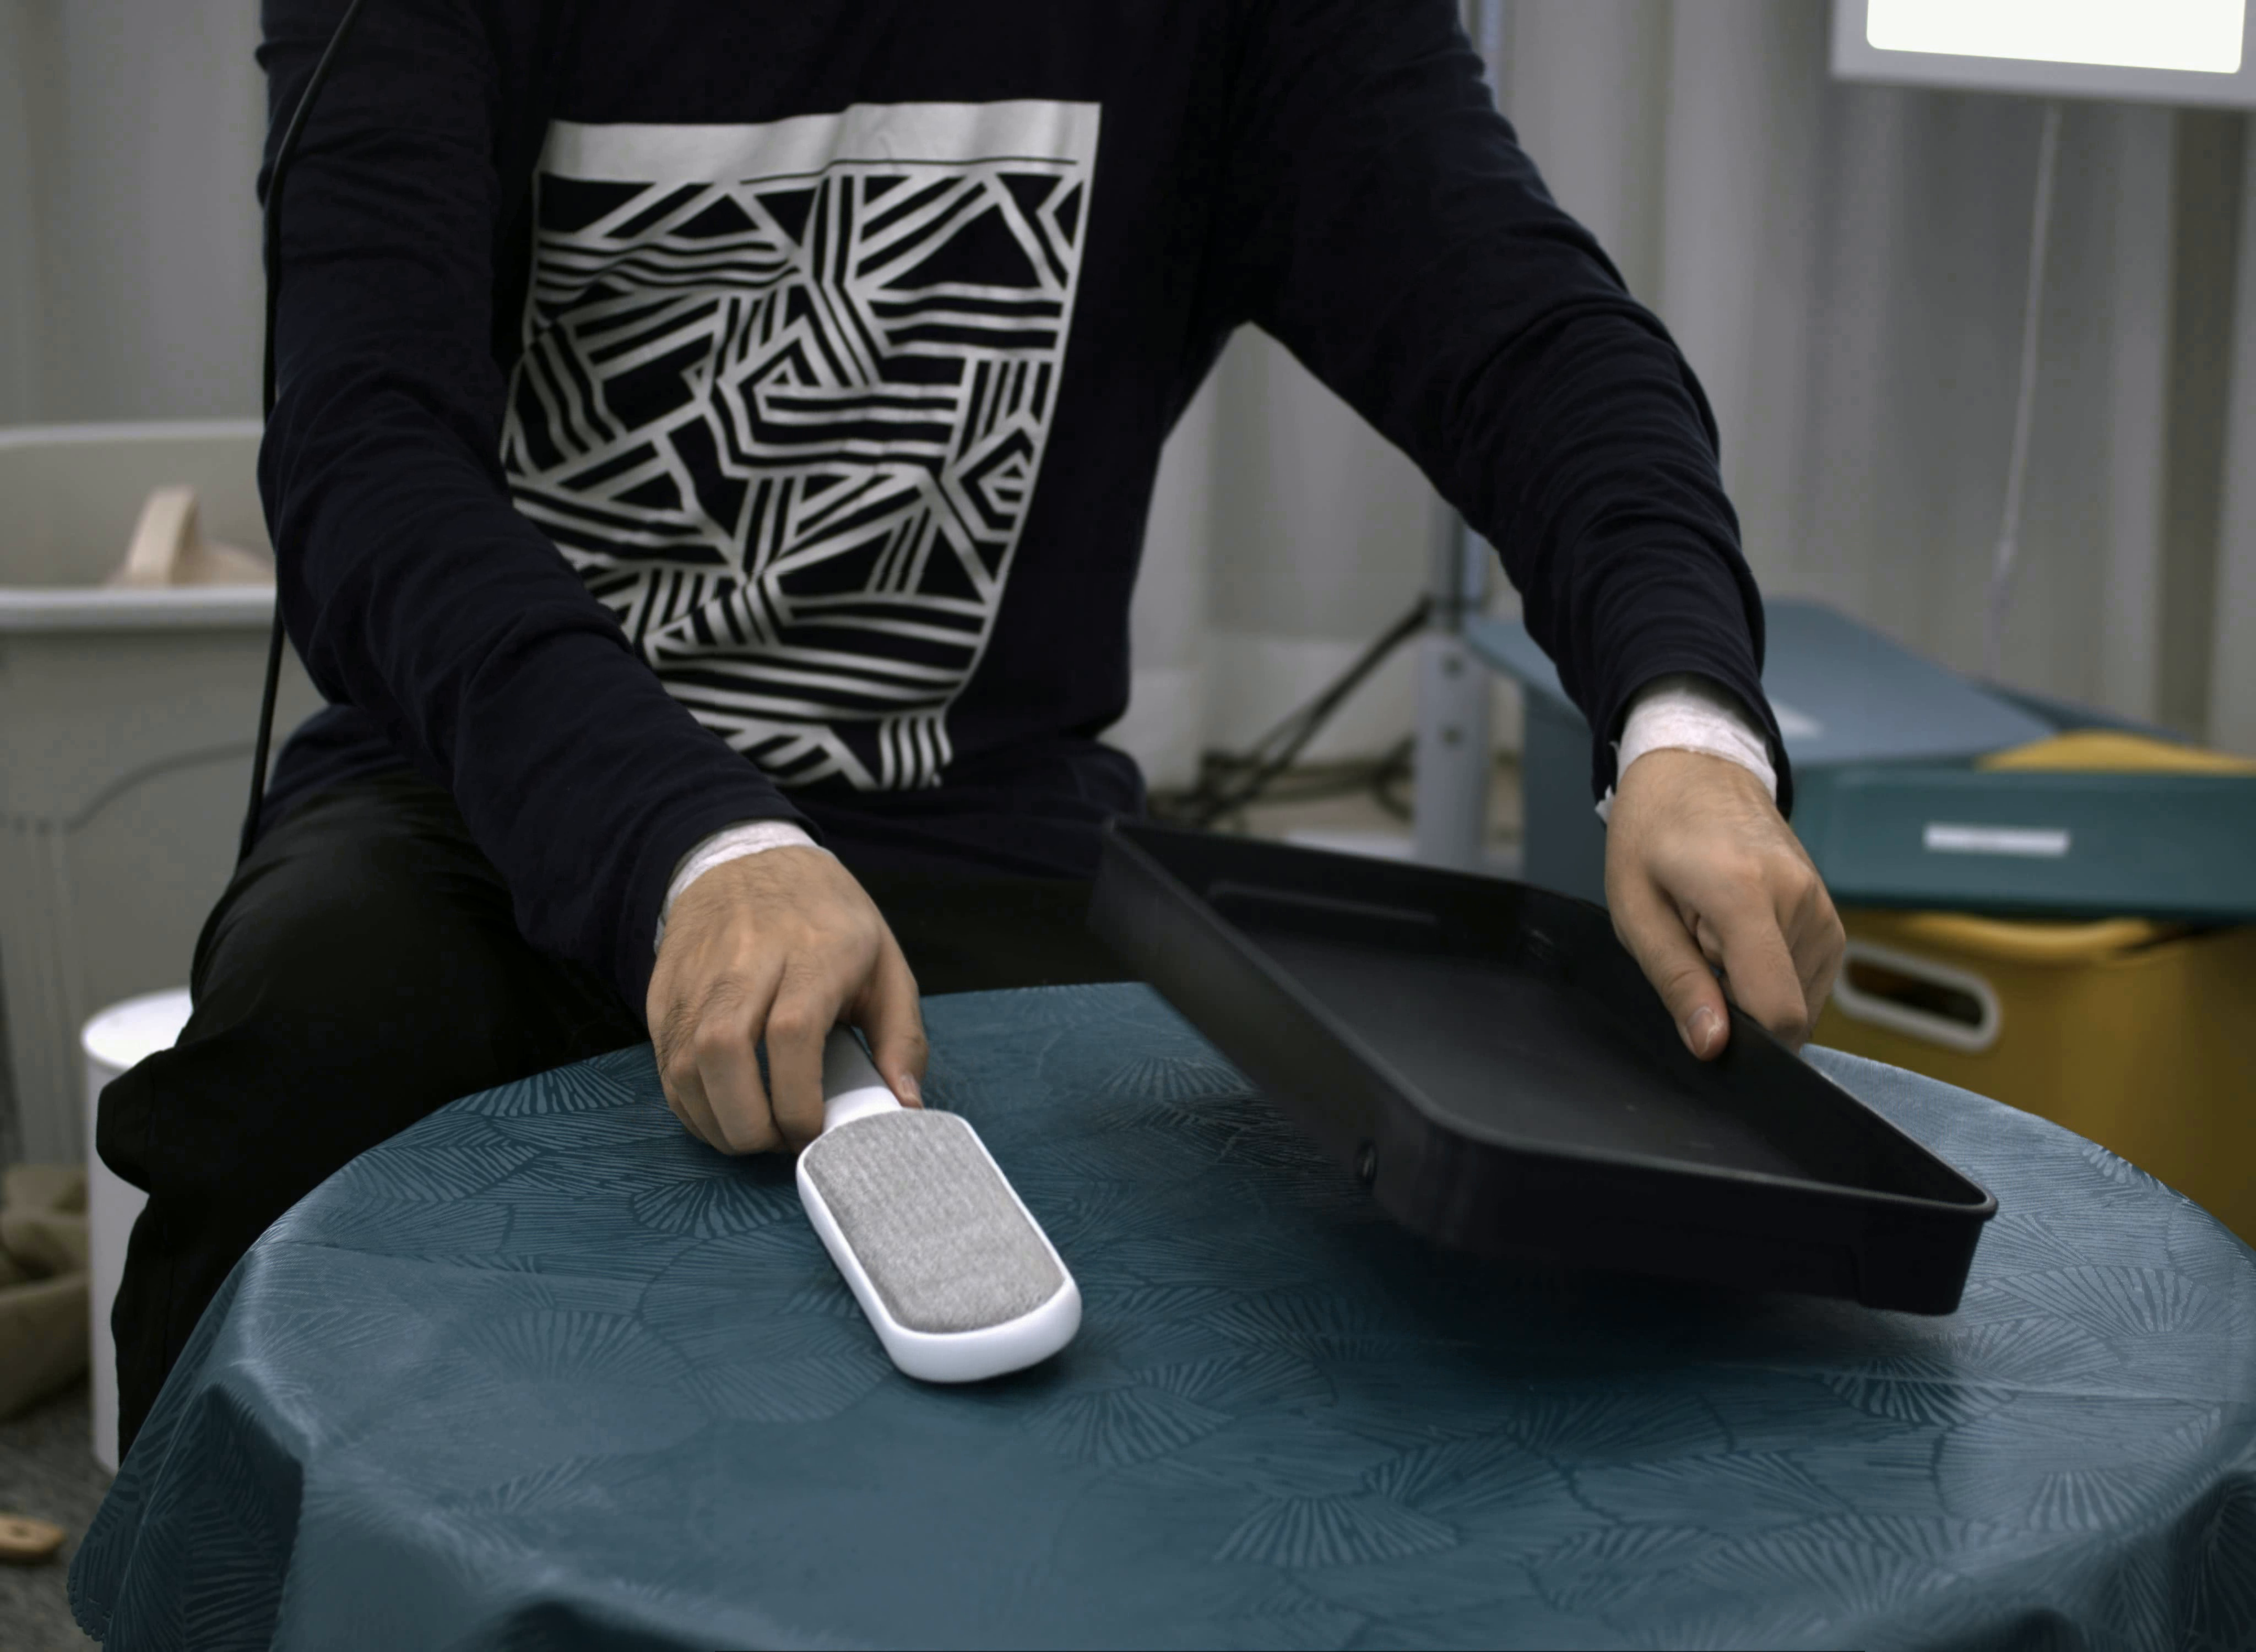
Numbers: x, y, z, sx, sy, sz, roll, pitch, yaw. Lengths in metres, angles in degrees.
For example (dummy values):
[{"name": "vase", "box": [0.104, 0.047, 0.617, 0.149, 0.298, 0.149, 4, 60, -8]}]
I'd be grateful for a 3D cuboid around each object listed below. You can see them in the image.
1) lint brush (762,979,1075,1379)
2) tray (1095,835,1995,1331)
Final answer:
[{"name": "lint brush", "box": [-0.072, 0.101, 1.592, 0.060, 0.021, 0.306, -17, 20, -9]}, {"name": "tray", "box": [0.116, 0.073, 1.596, 0.185, 0.037, 0.314, 9, 14, -21]}]
